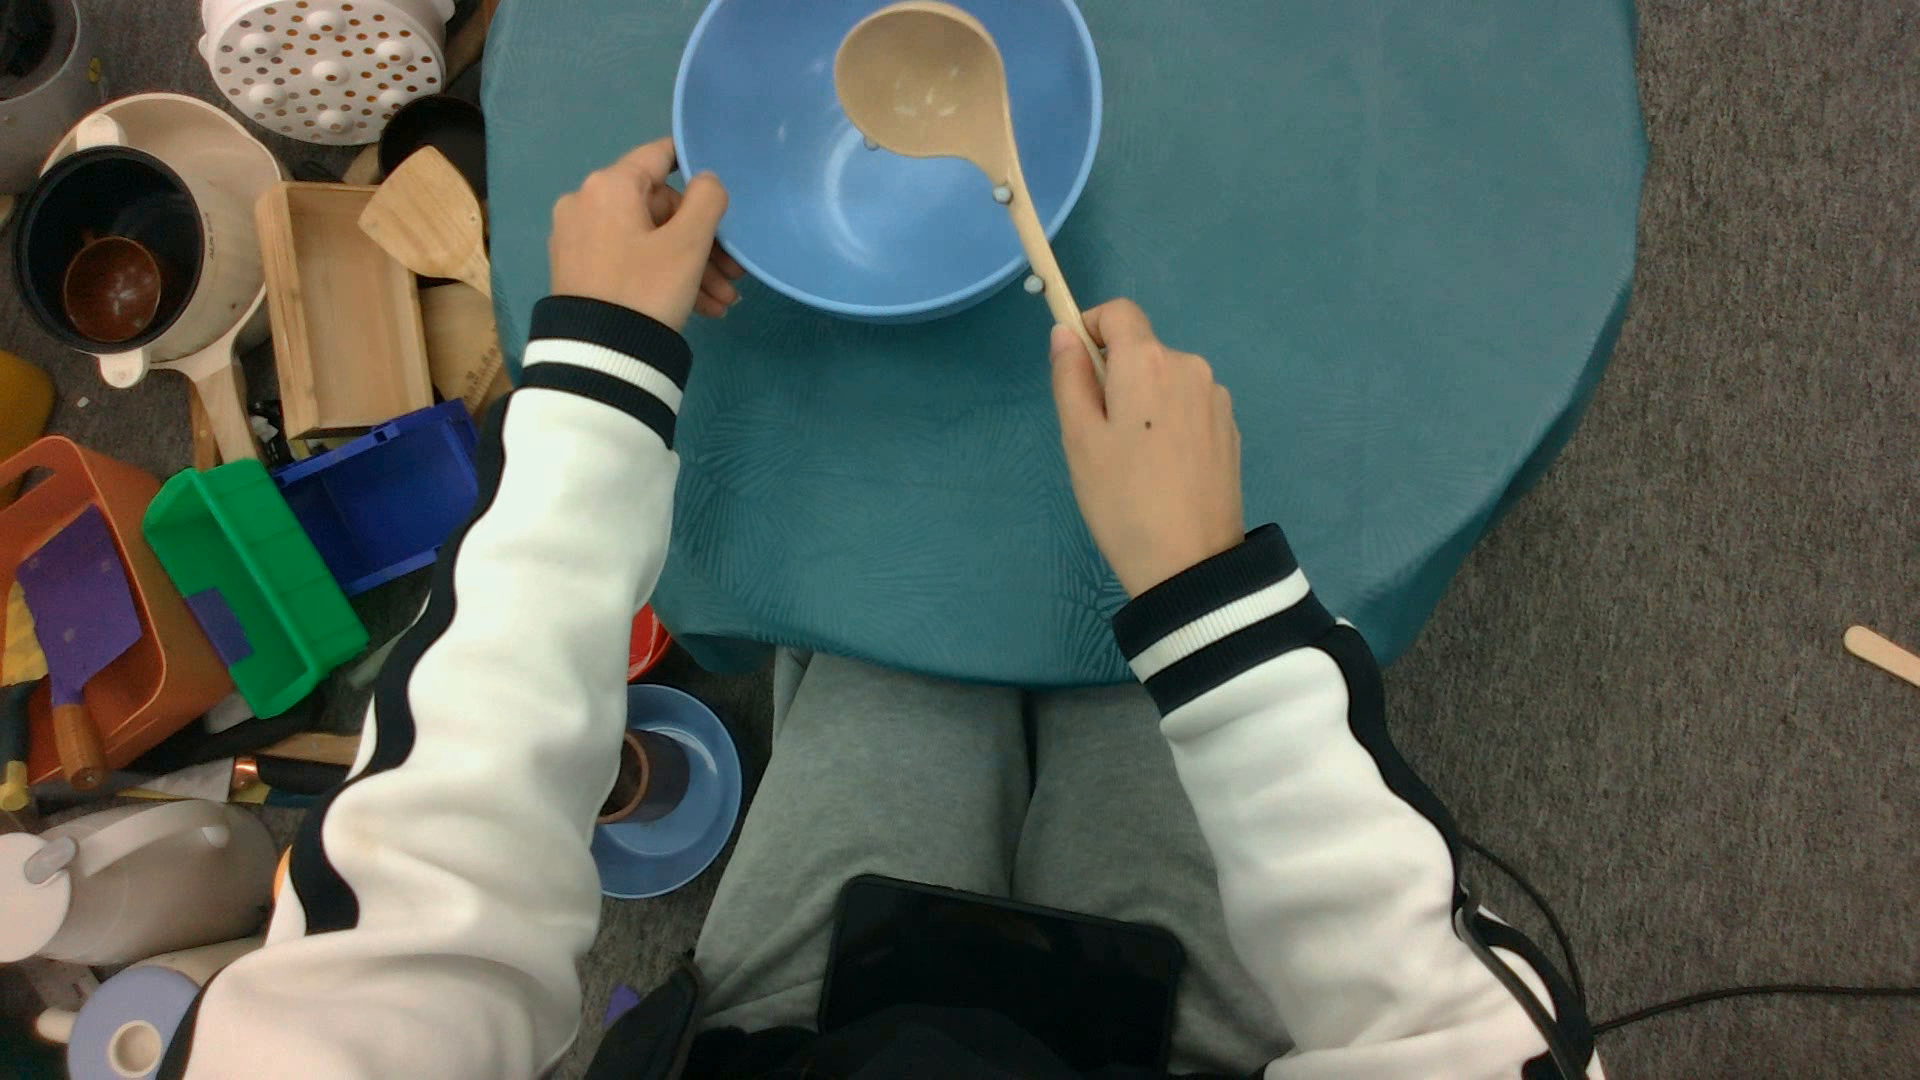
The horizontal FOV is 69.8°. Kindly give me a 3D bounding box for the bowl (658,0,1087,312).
[{"bbox_3d":[-0.037,-0.193,0.670,0.196,0.095,0.197,-1,78,4],"label":"bowl"}]

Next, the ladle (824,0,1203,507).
[{"bbox_3d":[0.019,-0.121,0.569,0.072,0.073,0.255,-39,65,26],"label":"ladle"}]
